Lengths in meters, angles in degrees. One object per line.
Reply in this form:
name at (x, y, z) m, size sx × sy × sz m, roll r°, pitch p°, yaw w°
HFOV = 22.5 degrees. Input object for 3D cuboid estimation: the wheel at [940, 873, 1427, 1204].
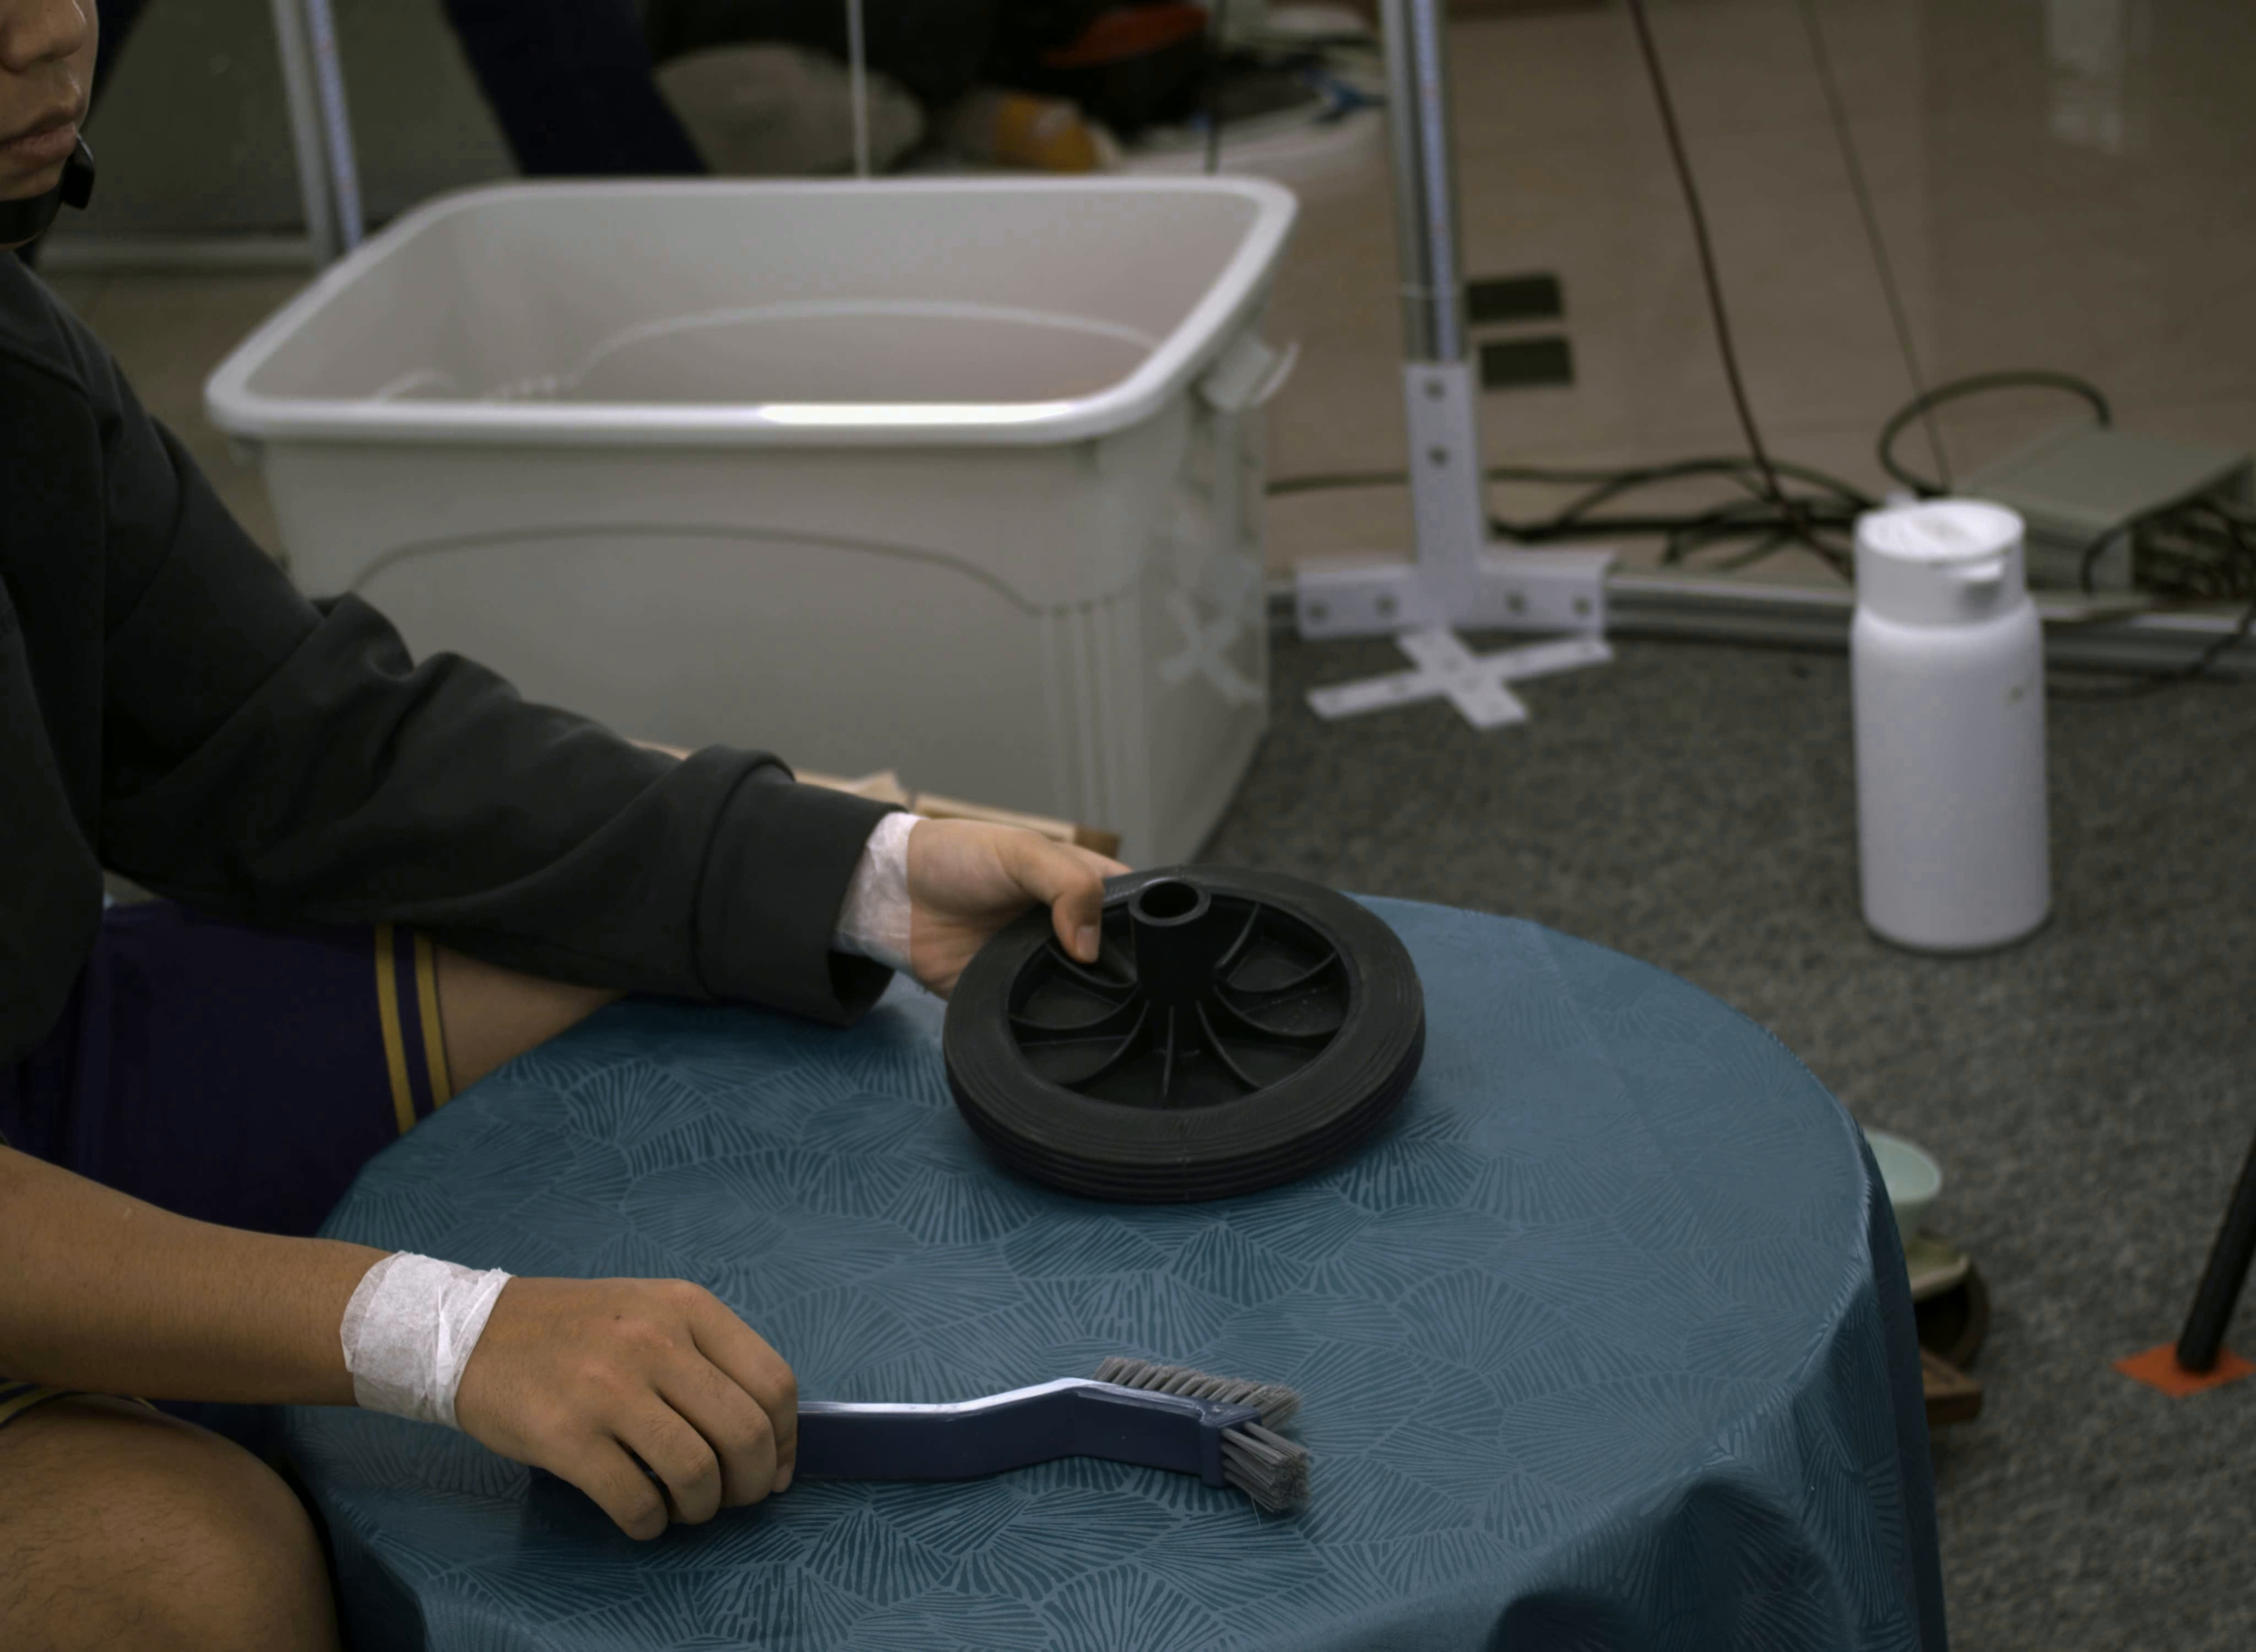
wheel at (0.019, 0.063, 2.187) m, size 0.188 × 0.080 × 0.185 m, roll 19°, pitch 44°, yaw 31°

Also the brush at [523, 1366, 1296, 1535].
brush at (-0.078, 0.214, 1.966) m, size 0.273 × 0.034 × 0.094 m, roll -3°, pitch 26°, yaw 5°
